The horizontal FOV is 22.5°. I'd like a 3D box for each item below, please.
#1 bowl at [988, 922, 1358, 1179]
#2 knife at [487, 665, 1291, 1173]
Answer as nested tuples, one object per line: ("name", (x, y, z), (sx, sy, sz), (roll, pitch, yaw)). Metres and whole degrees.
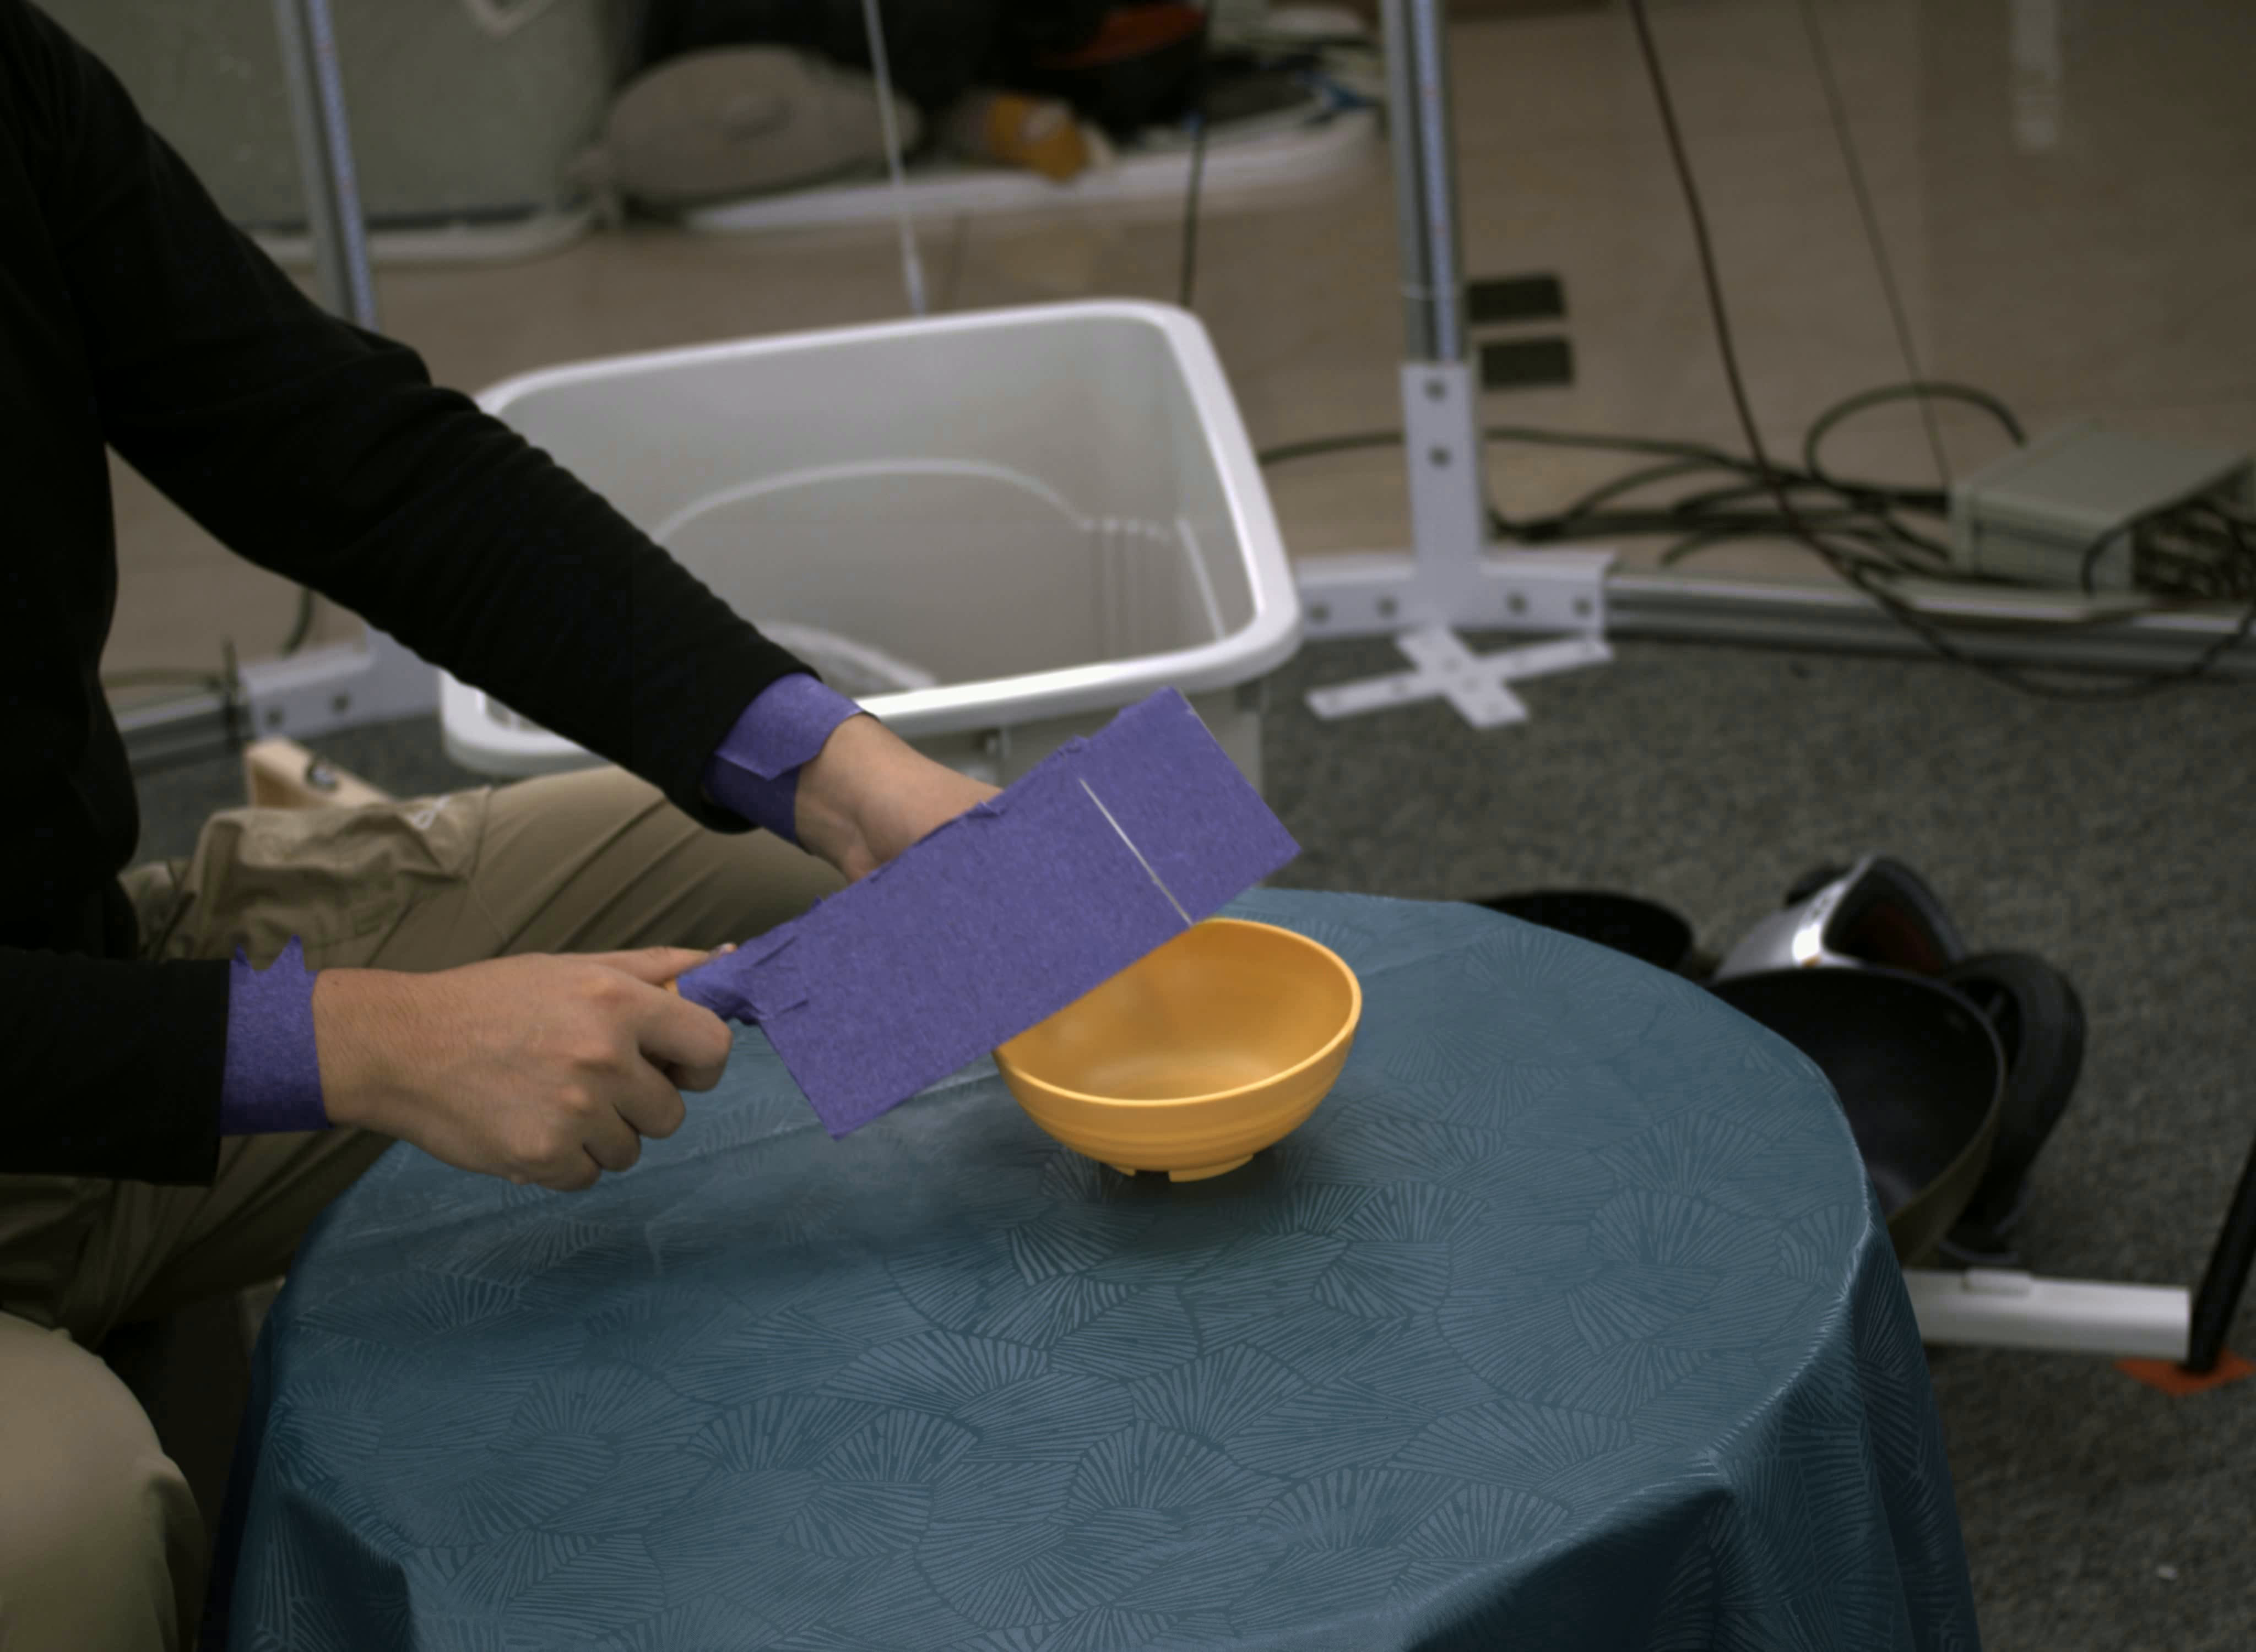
("bowl", (0.017, 0.094, 2.165), (0.145, 0.061, 0.143), (-3, 27, 1))
("knife", (-0.088, 0.056, 2.124), (0.314, 0.032, 0.102), (-33, 64, -4))
